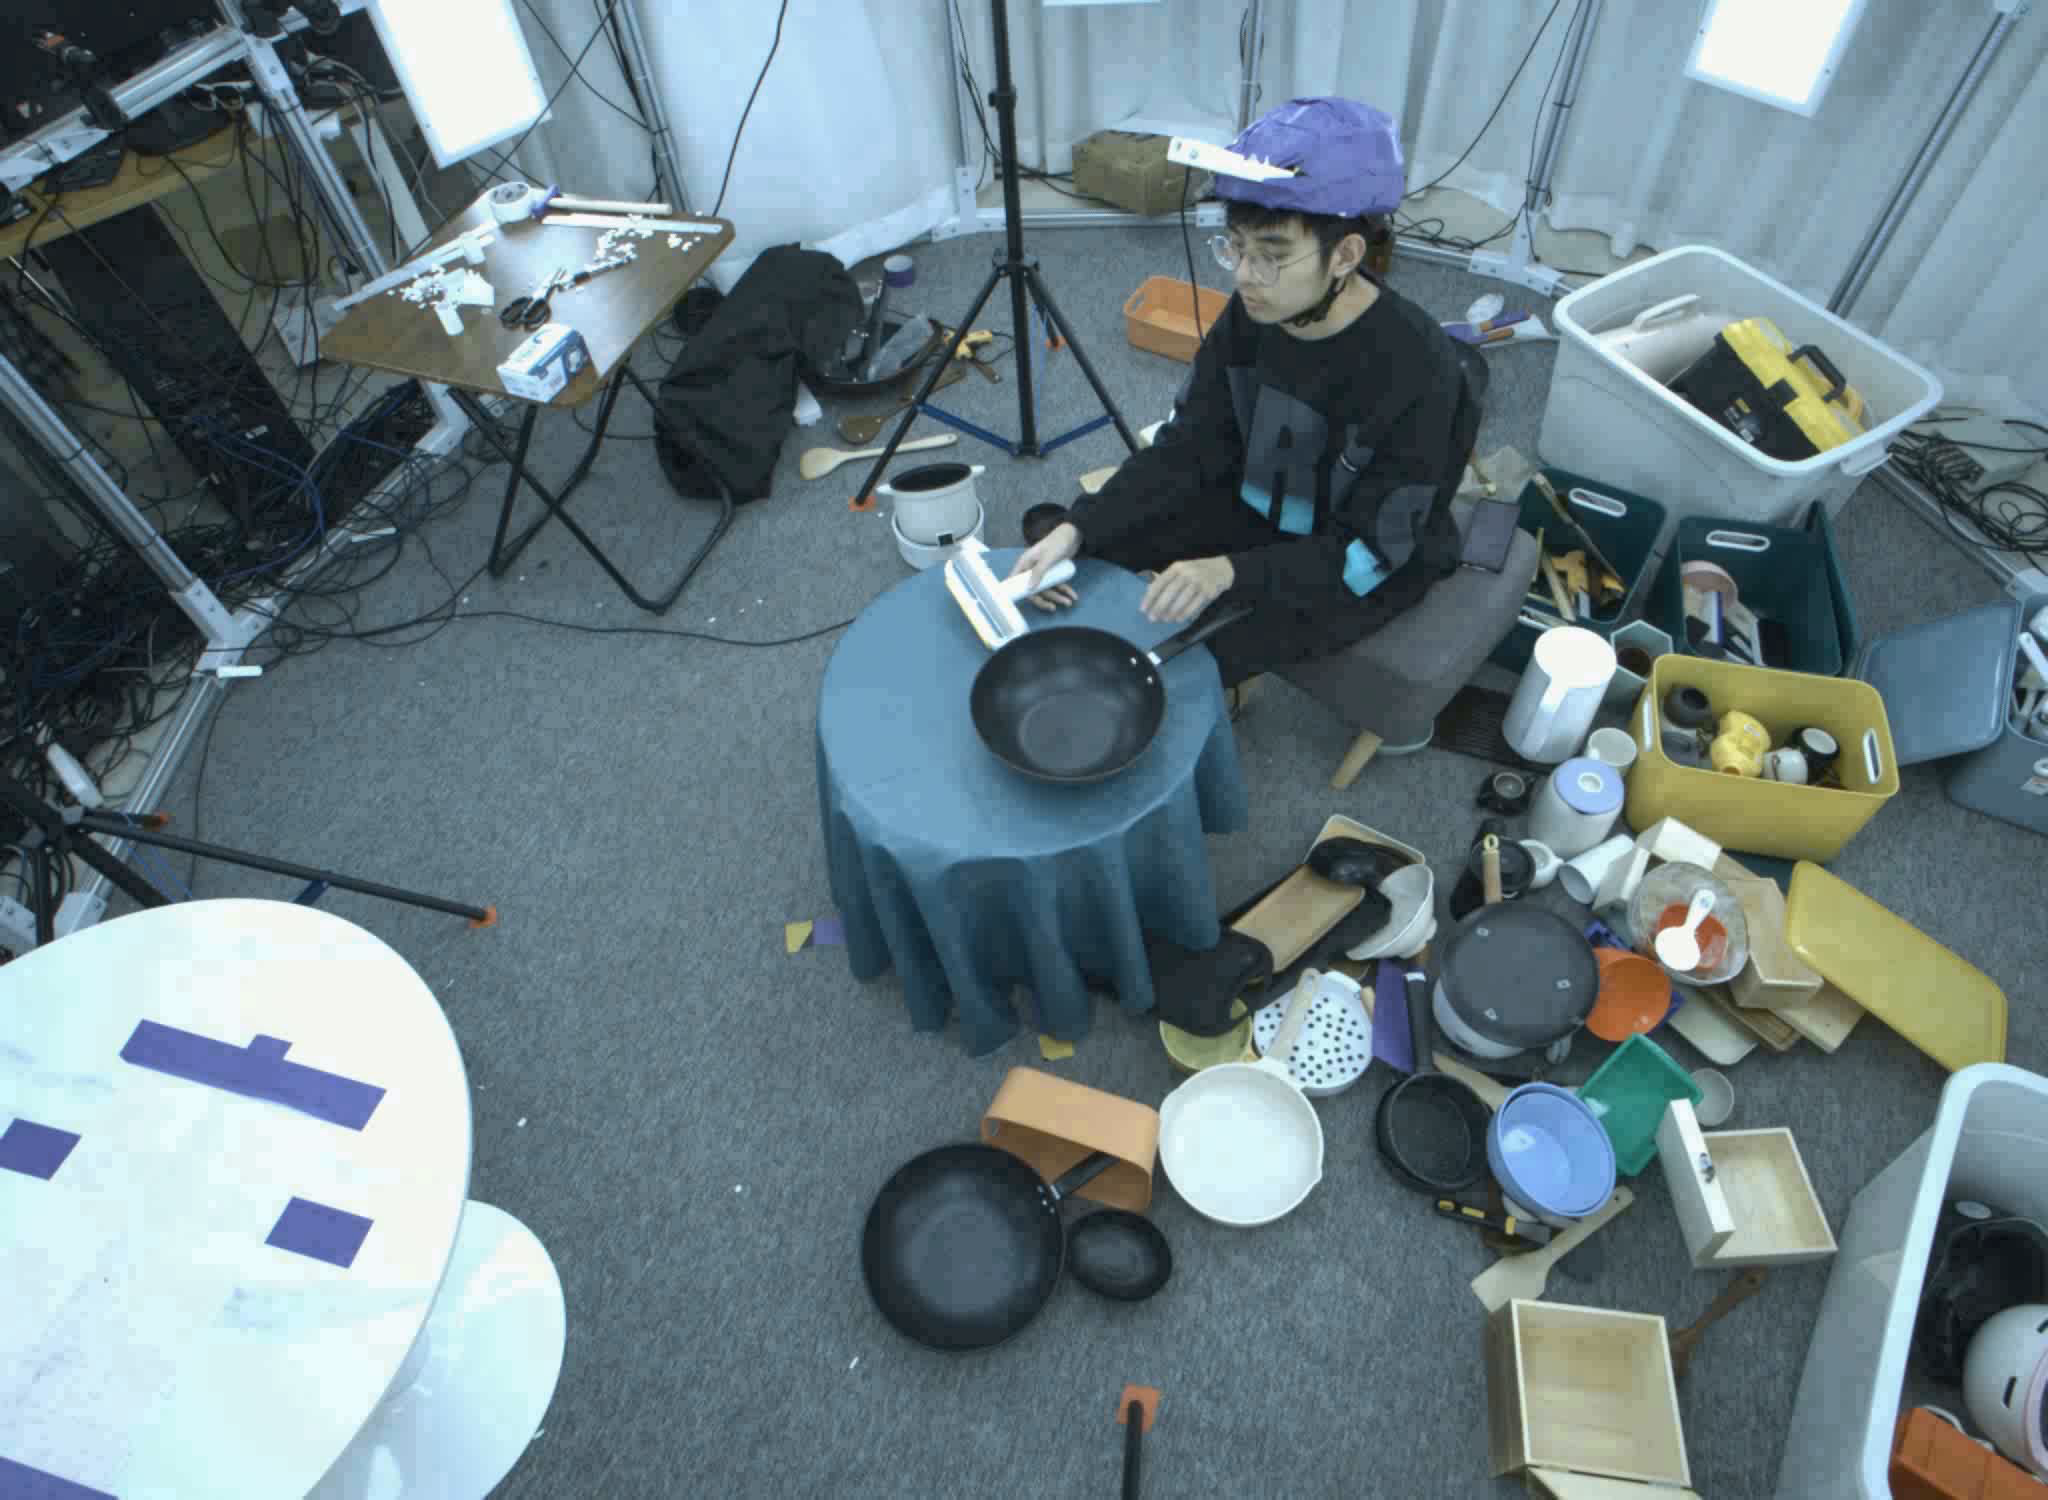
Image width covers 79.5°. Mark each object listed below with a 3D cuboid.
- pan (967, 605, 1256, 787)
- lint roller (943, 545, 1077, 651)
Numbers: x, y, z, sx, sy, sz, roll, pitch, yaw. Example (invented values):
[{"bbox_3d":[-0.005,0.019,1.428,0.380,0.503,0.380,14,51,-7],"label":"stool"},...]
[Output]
[{"bbox_3d":[0.139,-0.092,1.792,0.467,0.088,0.282,-28,58,-17],"label":"pan"},{"bbox_3d":[-0.009,-0.258,1.911,0.193,0.075,0.189,-27,62,-3],"label":"lint roller"}]
